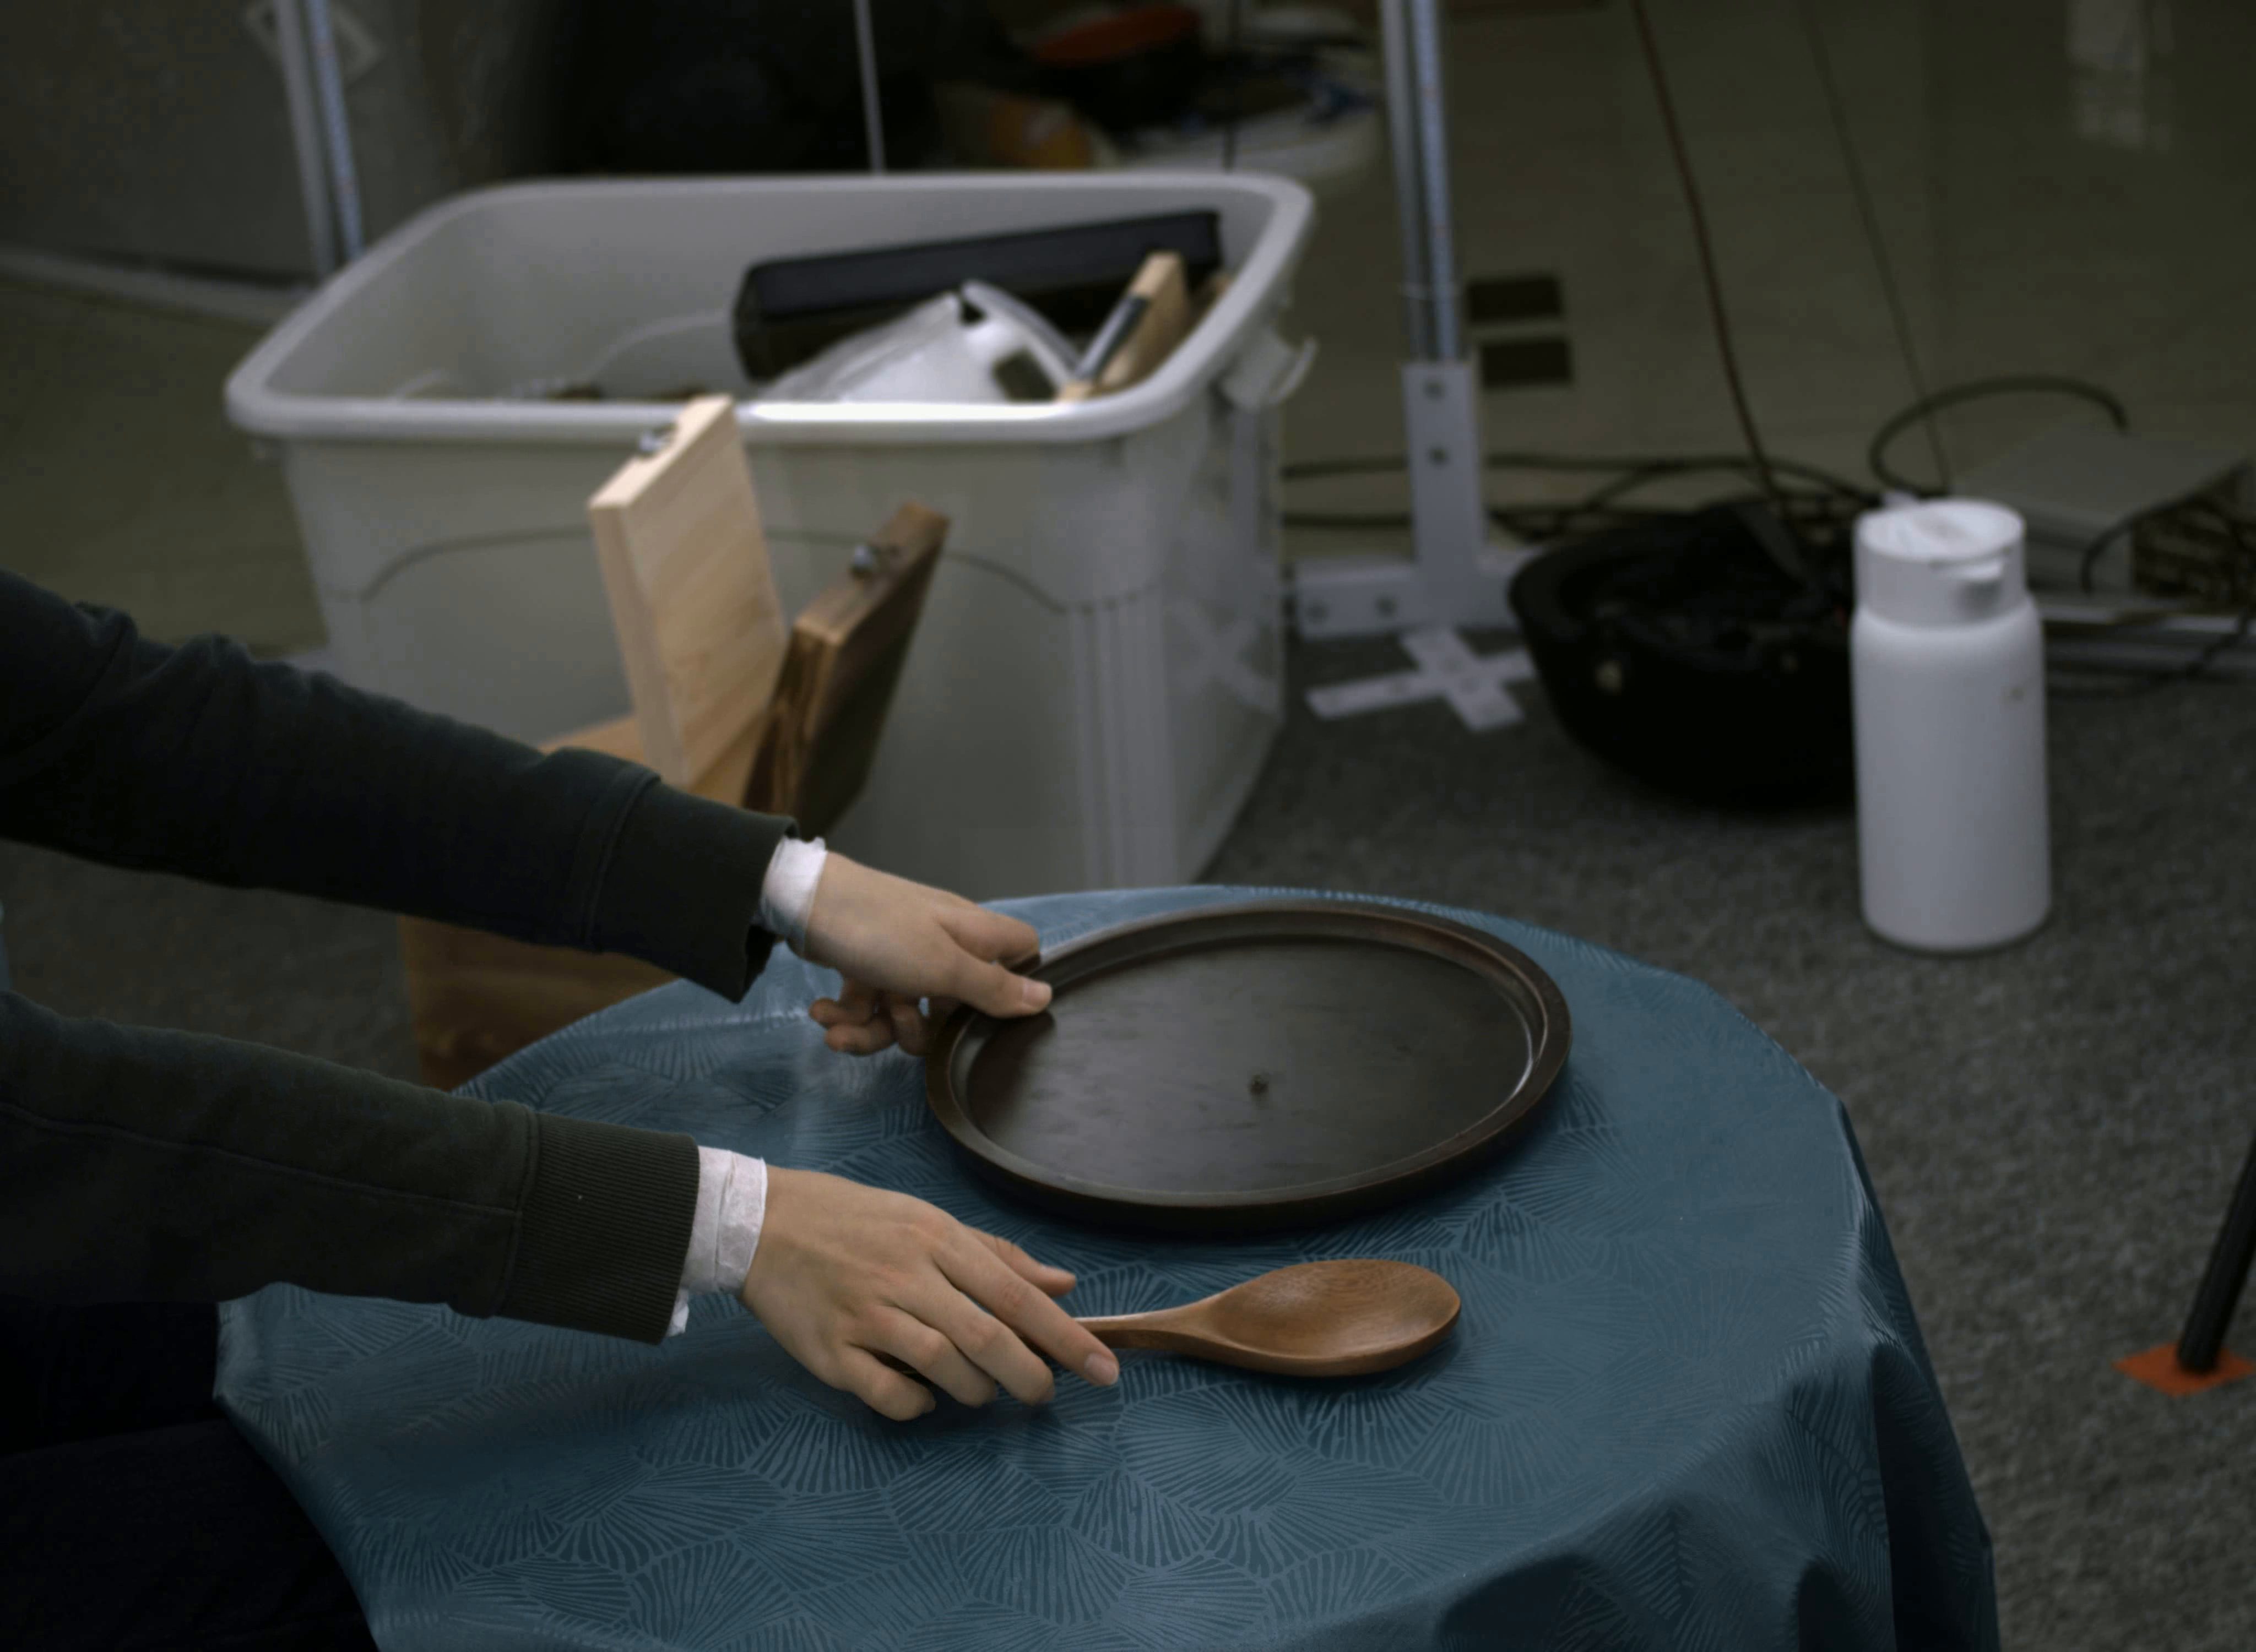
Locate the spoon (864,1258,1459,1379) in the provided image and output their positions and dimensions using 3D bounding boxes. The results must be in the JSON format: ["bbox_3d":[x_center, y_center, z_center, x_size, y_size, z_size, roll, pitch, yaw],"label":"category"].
[{"bbox_3d":[0.012,0.182,2.038,0.215,0.017,0.074,-3,25,7],"label":"spoon"}]

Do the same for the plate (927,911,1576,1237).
[{"bbox_3d":[0.048,0.095,2.206,0.254,0.029,0.251,-4,25,2],"label":"plate"}]
